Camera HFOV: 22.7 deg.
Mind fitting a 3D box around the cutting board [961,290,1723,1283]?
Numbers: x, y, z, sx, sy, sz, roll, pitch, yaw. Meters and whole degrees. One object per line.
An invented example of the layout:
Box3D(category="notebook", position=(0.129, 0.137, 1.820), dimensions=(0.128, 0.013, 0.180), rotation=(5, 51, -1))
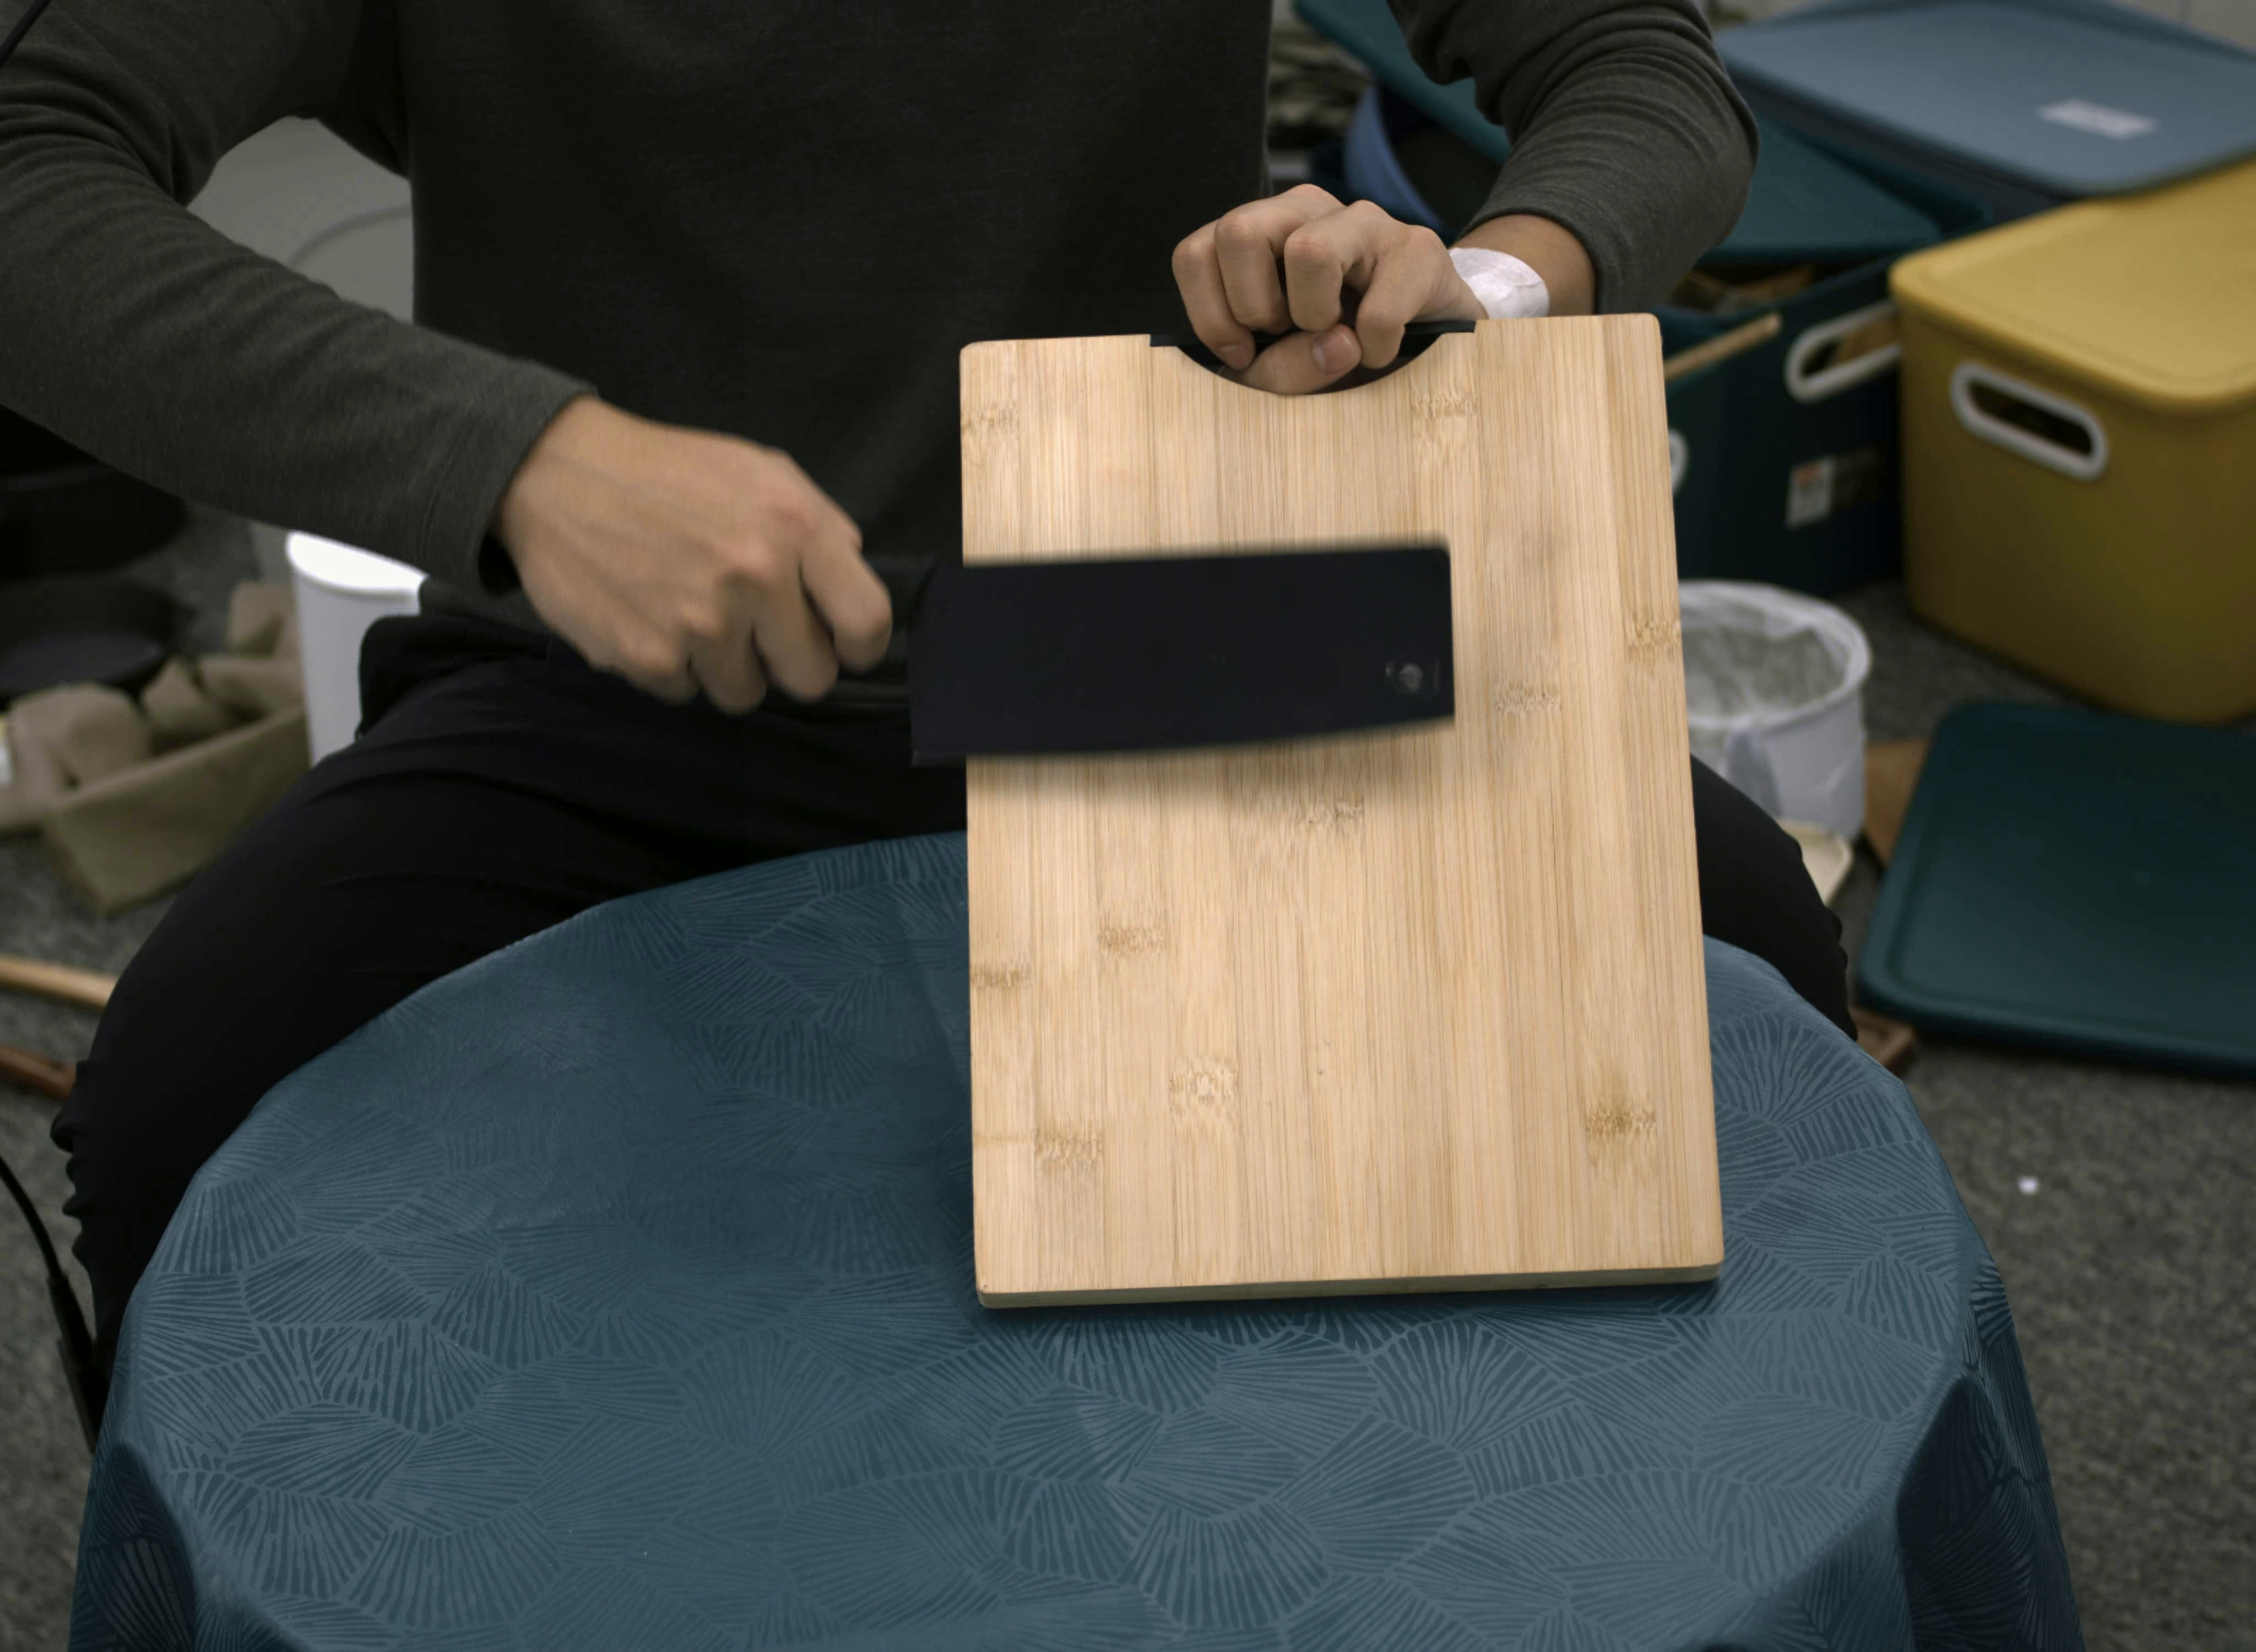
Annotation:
Box3D(category="cutting board", position=(0.066, -0.015, 1.863), dimensions=(0.249, 0.023, 0.354), rotation=(-3, 66, 0))

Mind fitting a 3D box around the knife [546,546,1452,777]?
Box3D(category="knife", position=(-0.043, -0.055, 1.843), dimensions=(0.300, 0.081, 0.021), rotation=(3, -2, 7))
